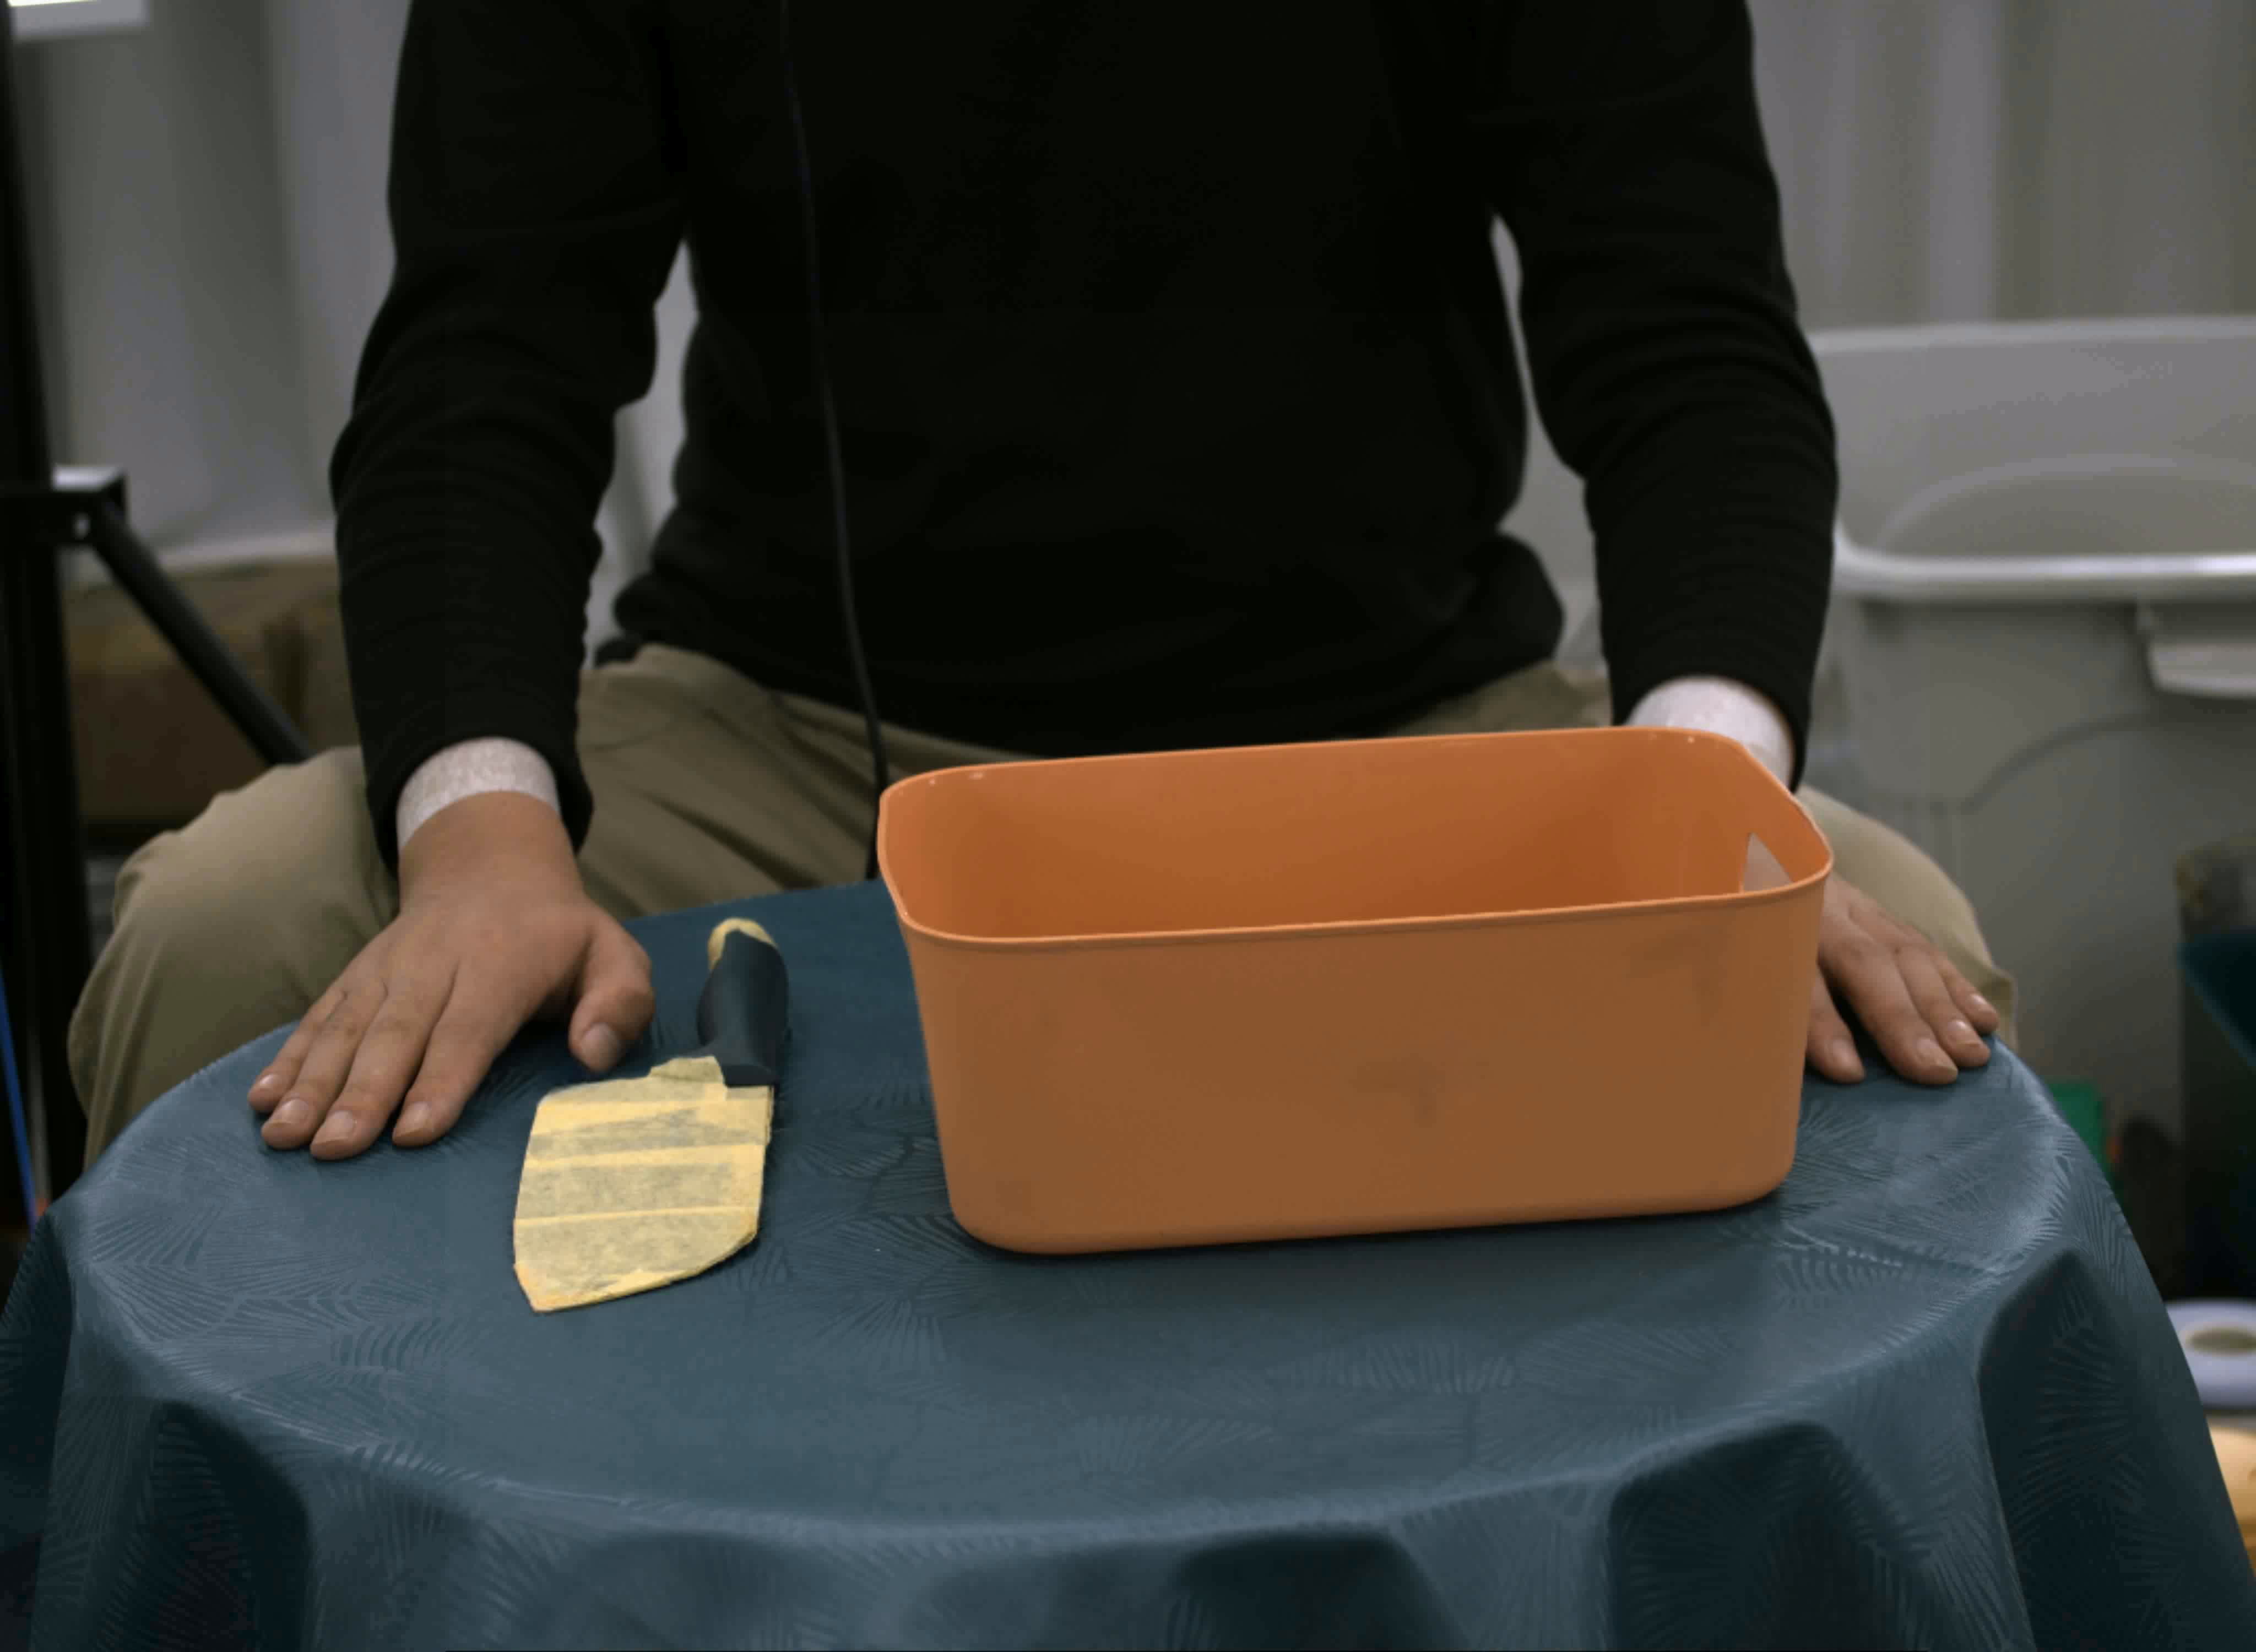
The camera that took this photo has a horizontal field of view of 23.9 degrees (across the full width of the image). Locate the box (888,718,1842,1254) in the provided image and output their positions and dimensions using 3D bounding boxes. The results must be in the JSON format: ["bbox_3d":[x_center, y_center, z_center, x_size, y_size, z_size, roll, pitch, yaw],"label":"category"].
[{"bbox_3d":[0.066,0.046,1.574,0.271,0.102,0.201,-4,16,-3],"label":"box"}]

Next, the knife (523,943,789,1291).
[{"bbox_3d":[-0.140,0.088,1.625,0.081,0.027,0.290,0,17,2],"label":"knife"}]
